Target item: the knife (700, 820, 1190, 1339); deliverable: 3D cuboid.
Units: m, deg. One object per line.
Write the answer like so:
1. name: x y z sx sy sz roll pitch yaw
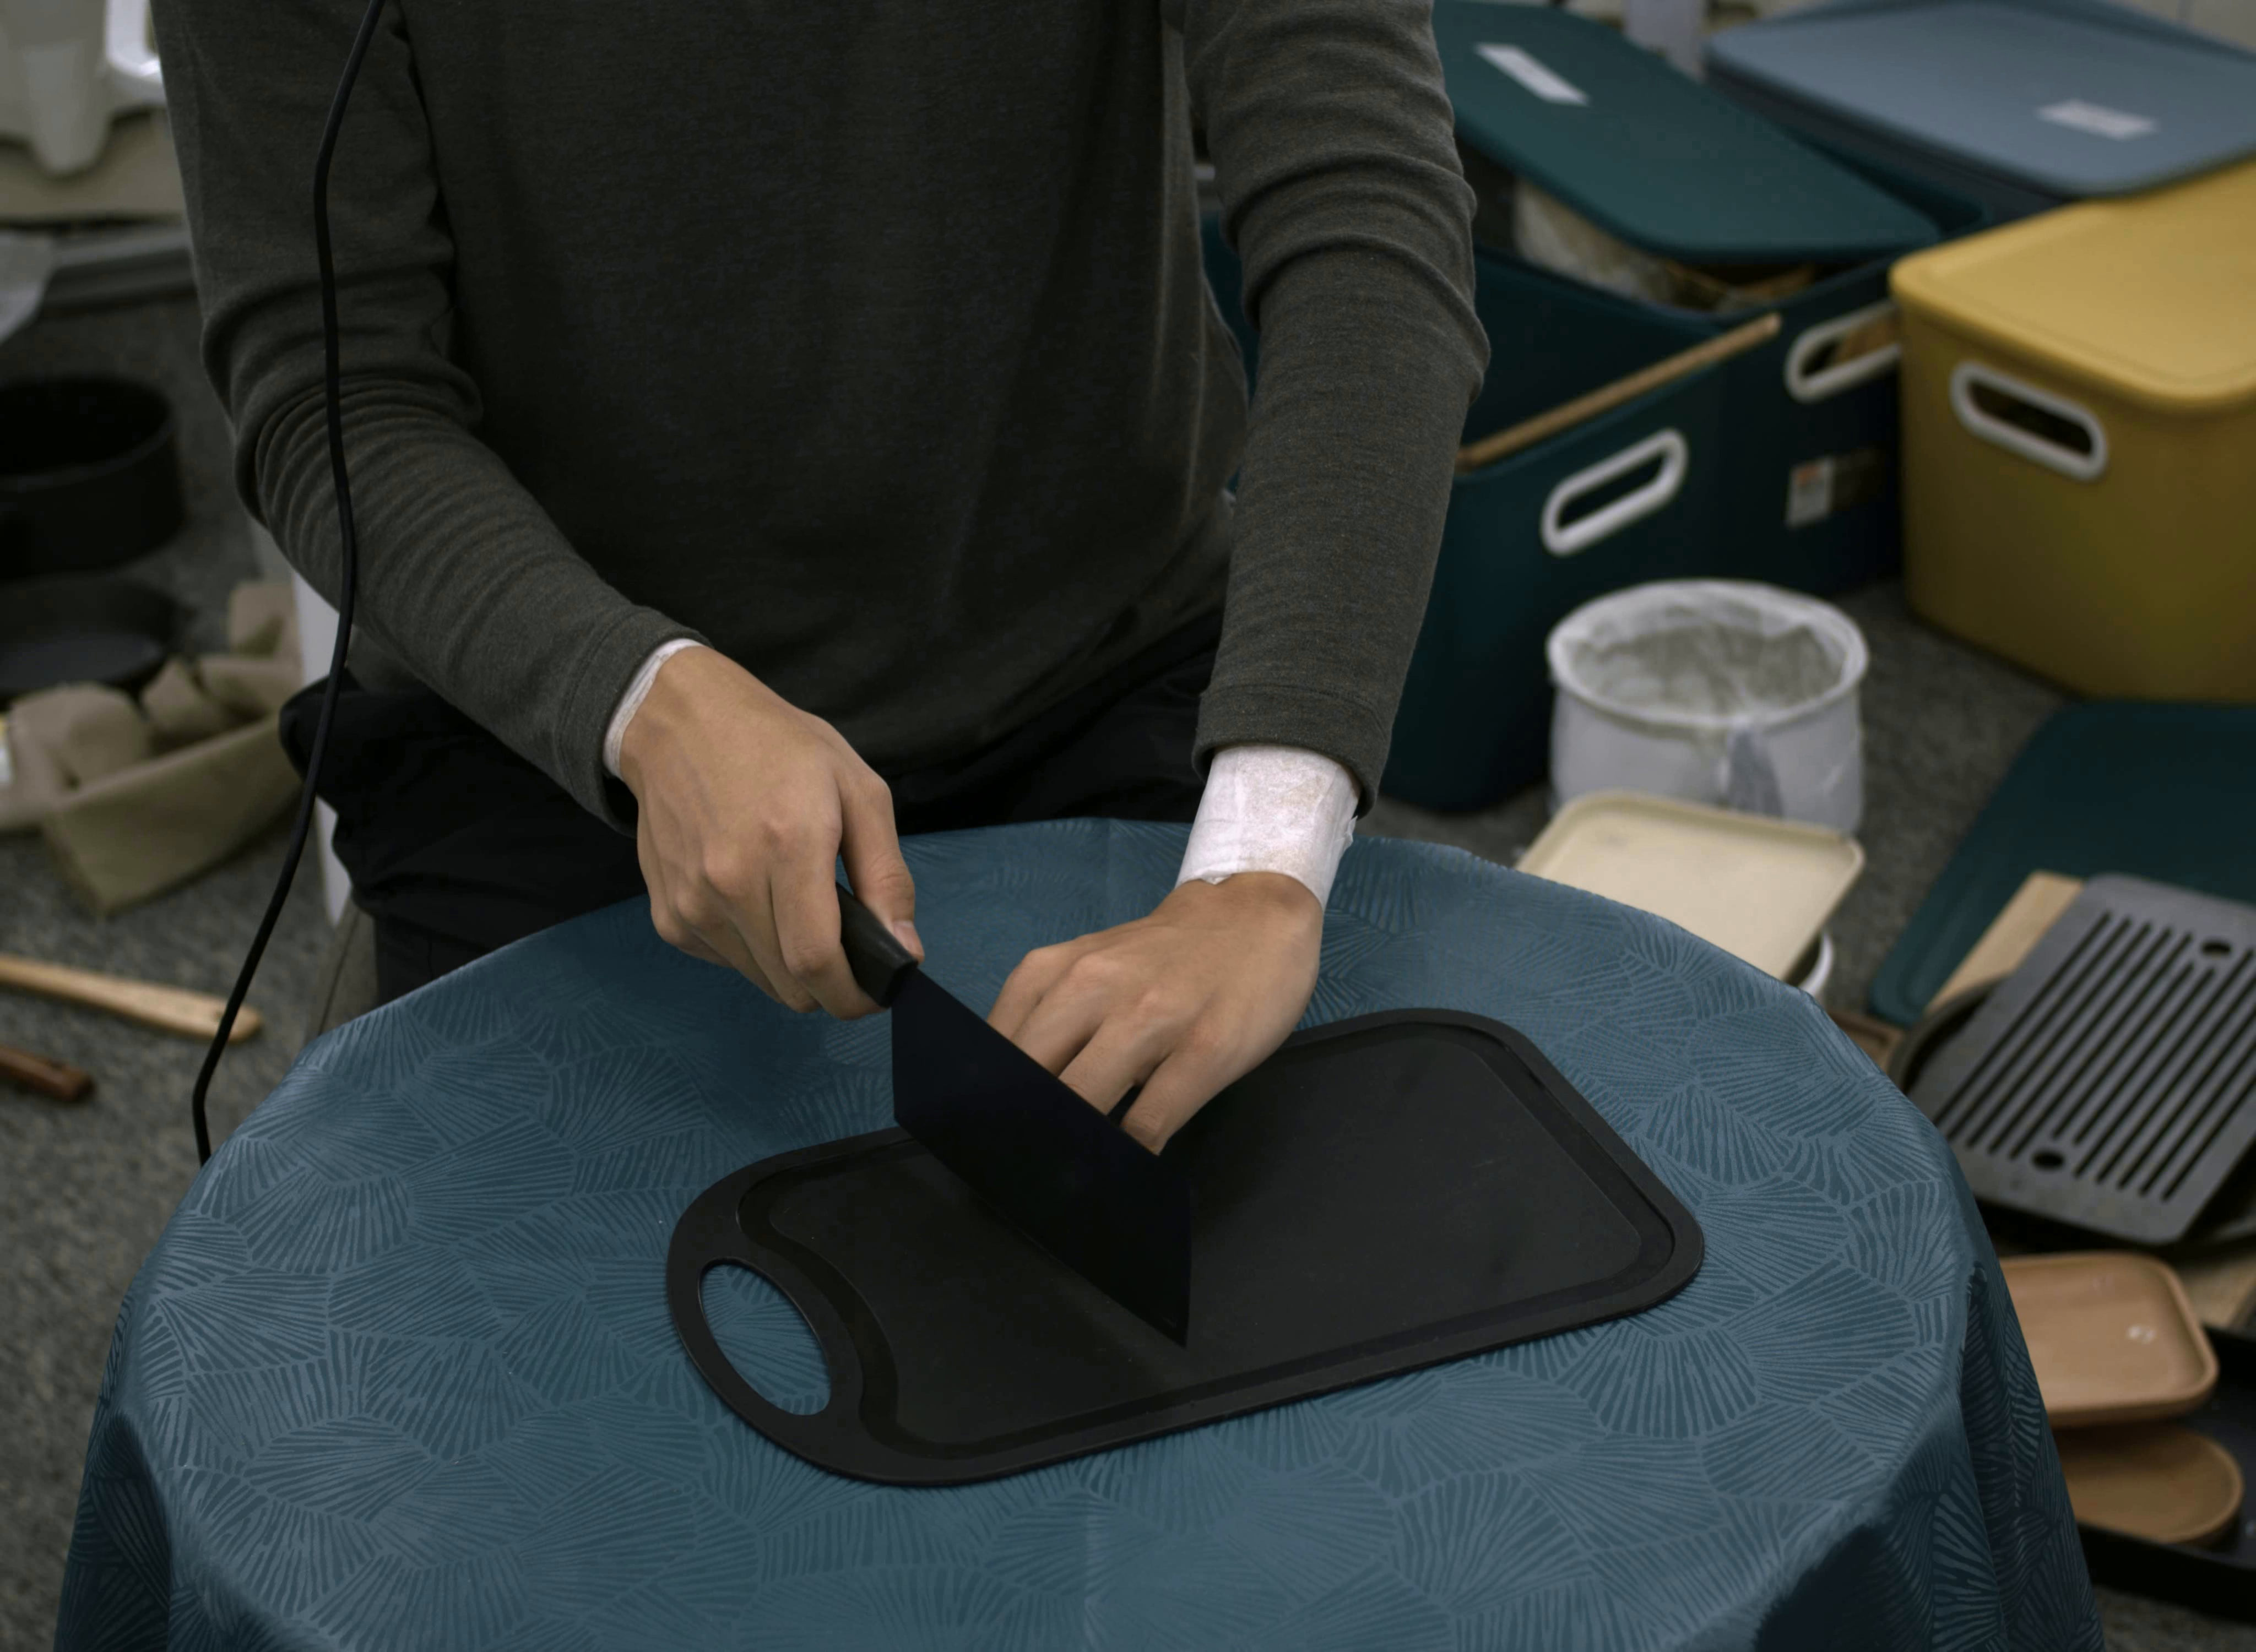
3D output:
1. knife: -0.062 0.076 1.847 0.021 0.080 0.304 -13 33 -30

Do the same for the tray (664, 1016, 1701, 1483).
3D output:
1. tray: 0.011 0.134 1.829 0.326 0.009 0.213 -12 28 -17
